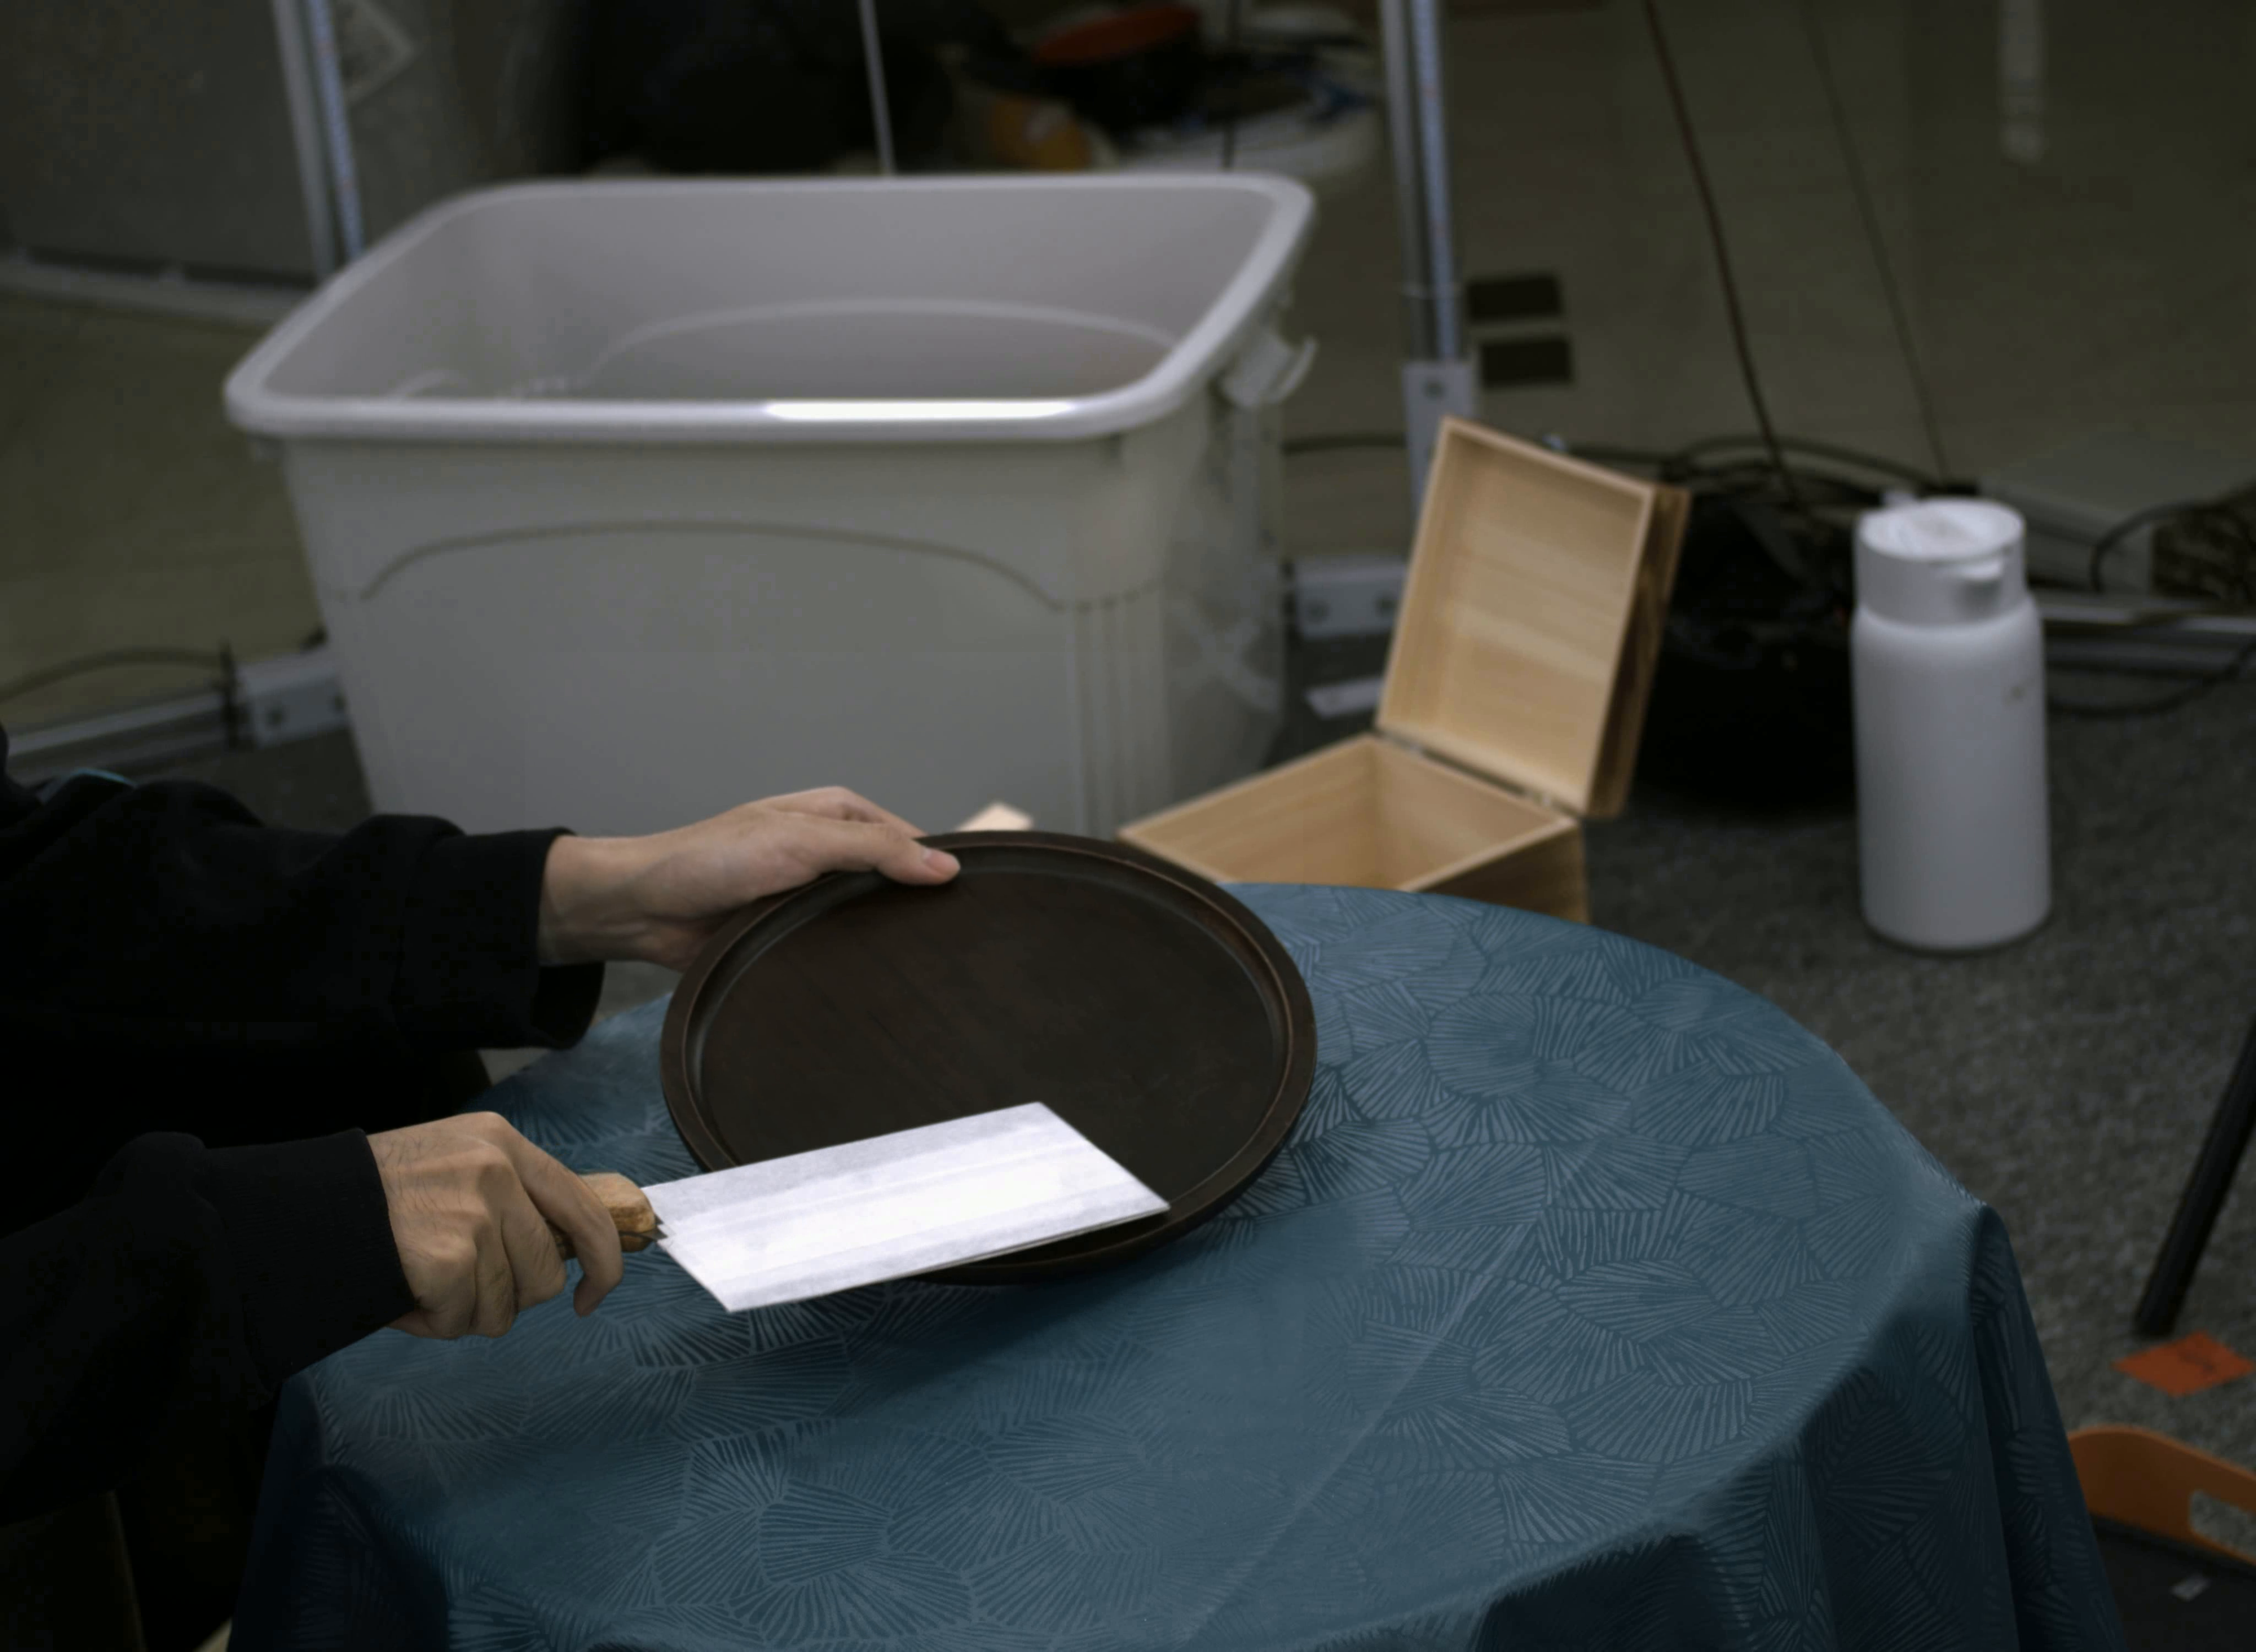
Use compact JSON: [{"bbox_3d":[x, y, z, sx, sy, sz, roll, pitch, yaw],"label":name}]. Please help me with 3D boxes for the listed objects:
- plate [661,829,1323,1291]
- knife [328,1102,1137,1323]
[{"bbox_3d":[-0.052,0.088,2.170,0.254,0.029,0.250,0,42,0],"label":"plate"},{"bbox_3d":[-0.133,0.144,2.032,0.304,0.021,0.092,-11,30,-33],"label":"knife"}]
